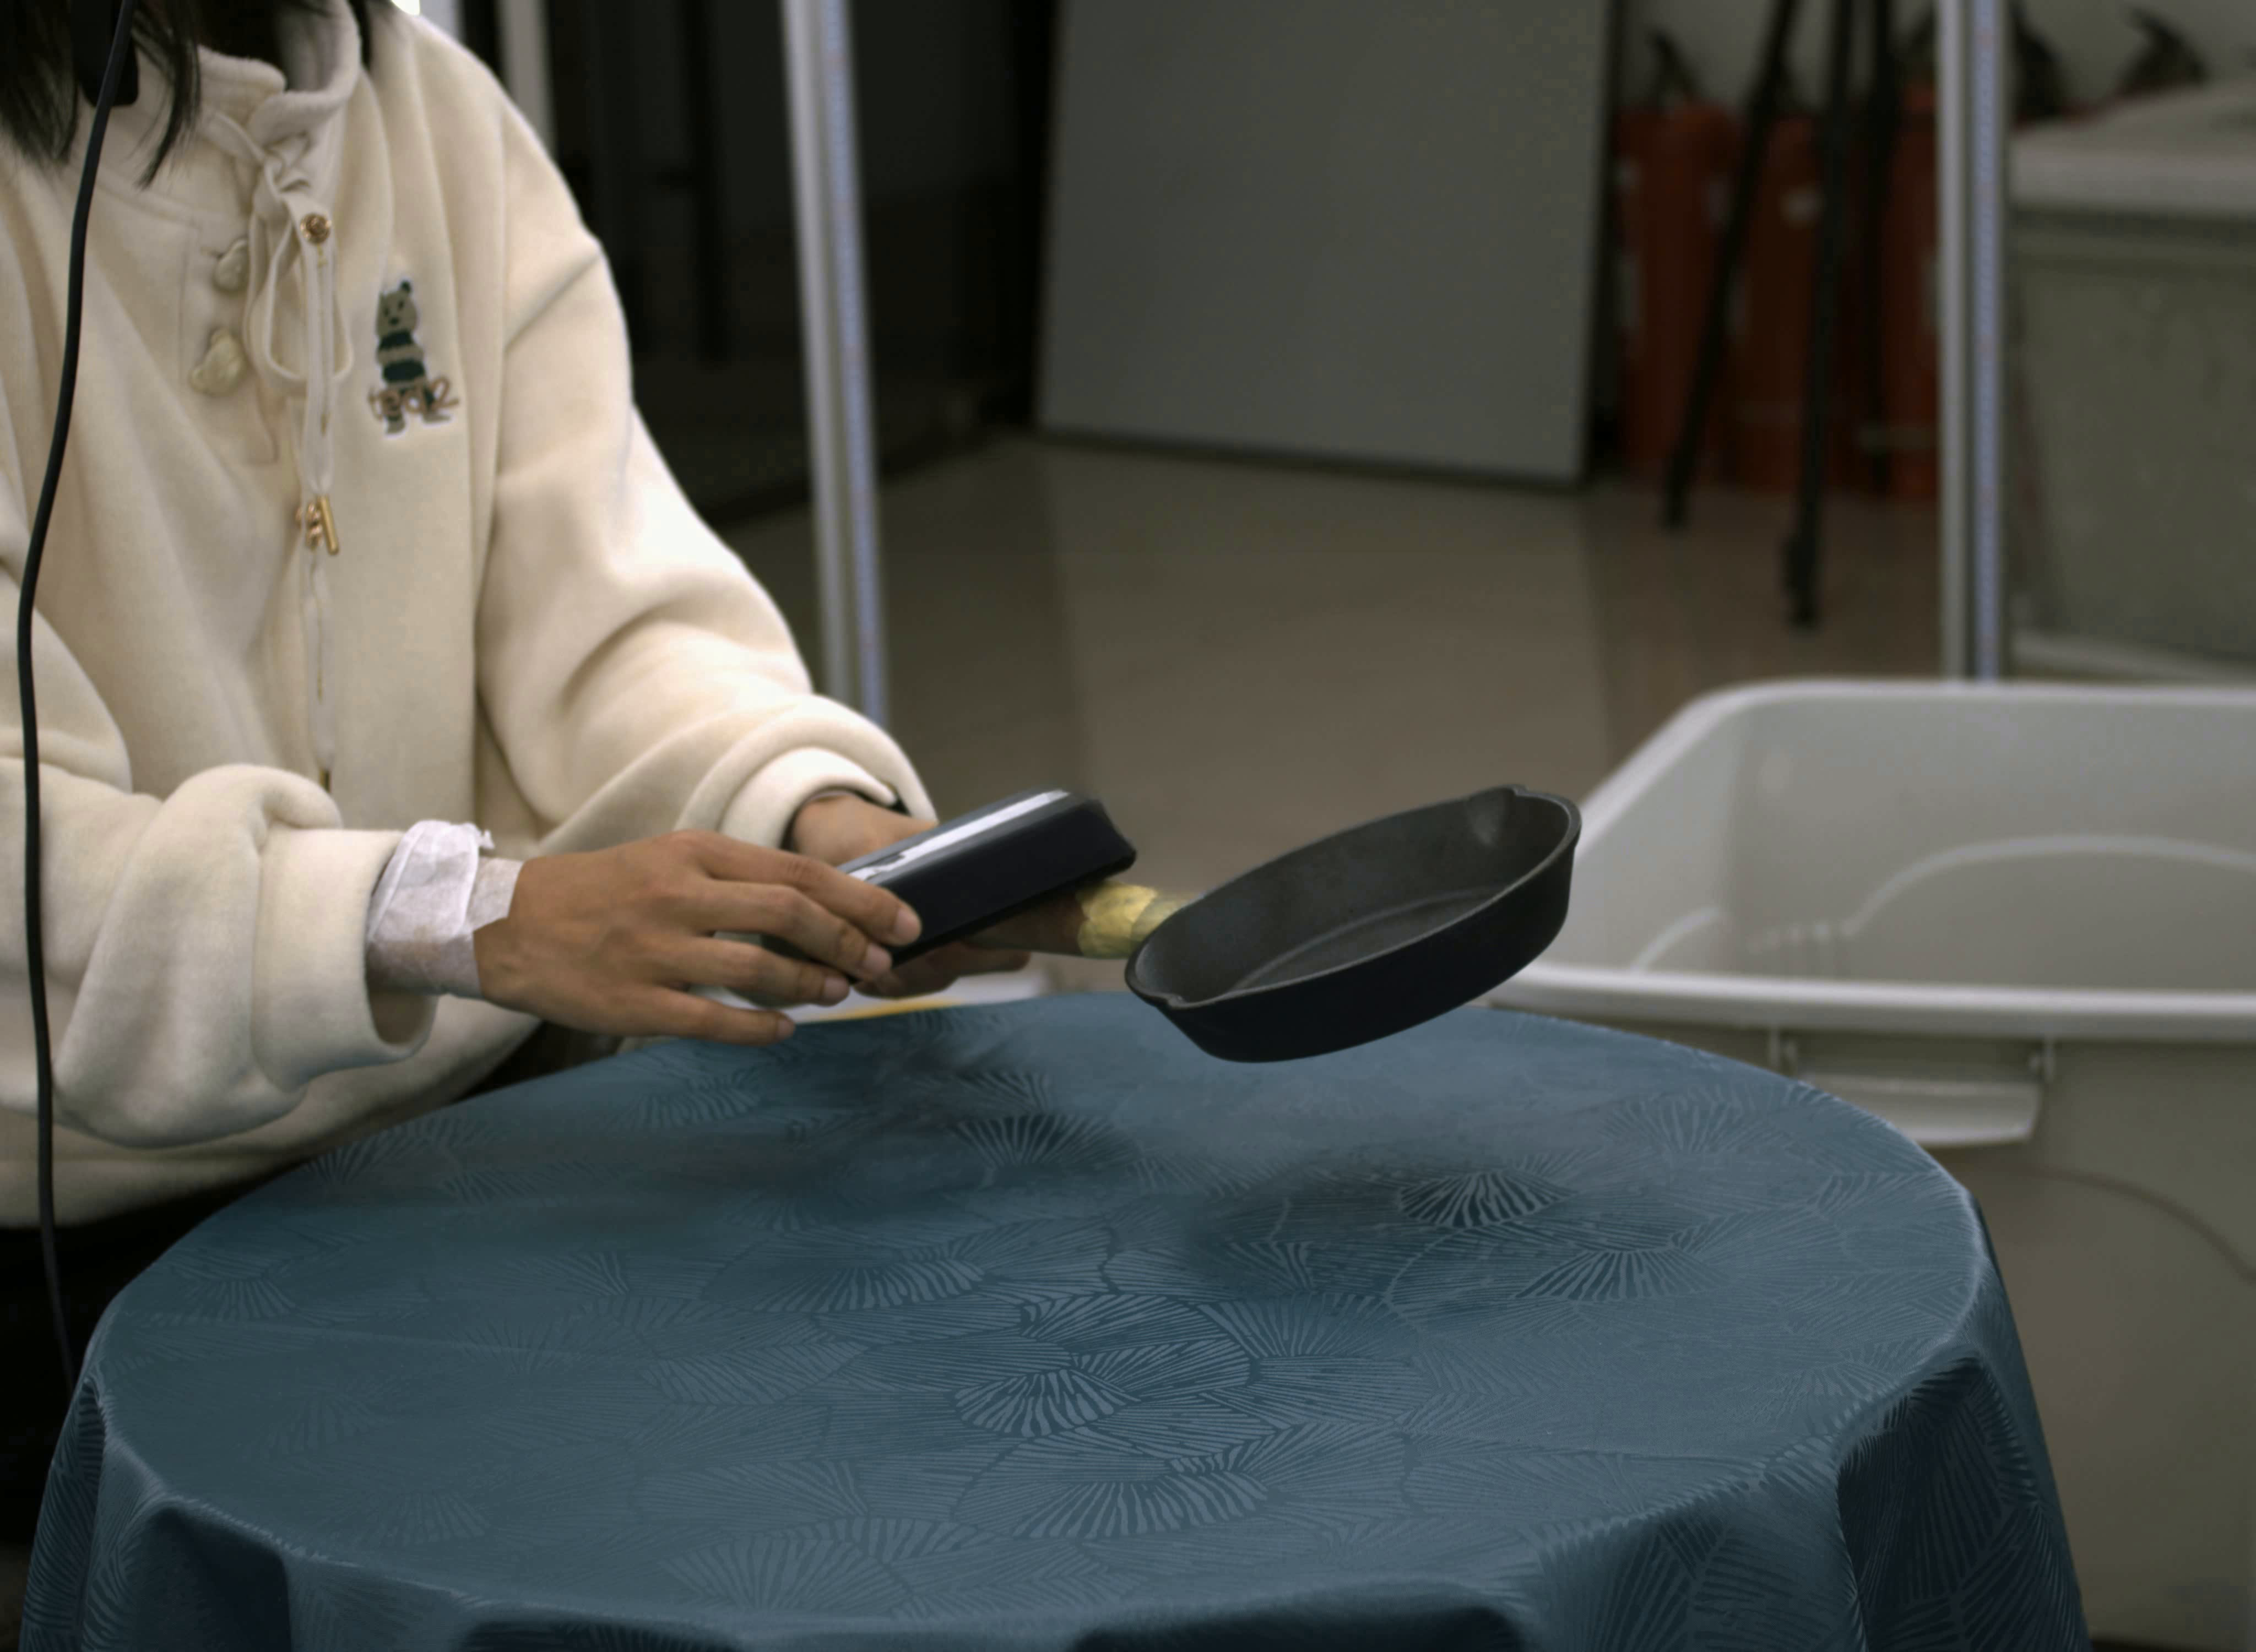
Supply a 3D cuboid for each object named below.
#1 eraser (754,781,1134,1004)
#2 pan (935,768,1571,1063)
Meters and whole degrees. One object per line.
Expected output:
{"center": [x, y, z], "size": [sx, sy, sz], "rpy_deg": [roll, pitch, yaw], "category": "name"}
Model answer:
{"center": [-0.061, 0.021, 1.820], "size": [0.123, 0.030, 0.054], "rpy_deg": [-24, 14, -16], "category": "eraser"}
{"center": [0.019, 0.031, 1.802], "size": [0.166, 0.050, 0.327], "rpy_deg": [-33, 18, -36], "category": "pan"}
